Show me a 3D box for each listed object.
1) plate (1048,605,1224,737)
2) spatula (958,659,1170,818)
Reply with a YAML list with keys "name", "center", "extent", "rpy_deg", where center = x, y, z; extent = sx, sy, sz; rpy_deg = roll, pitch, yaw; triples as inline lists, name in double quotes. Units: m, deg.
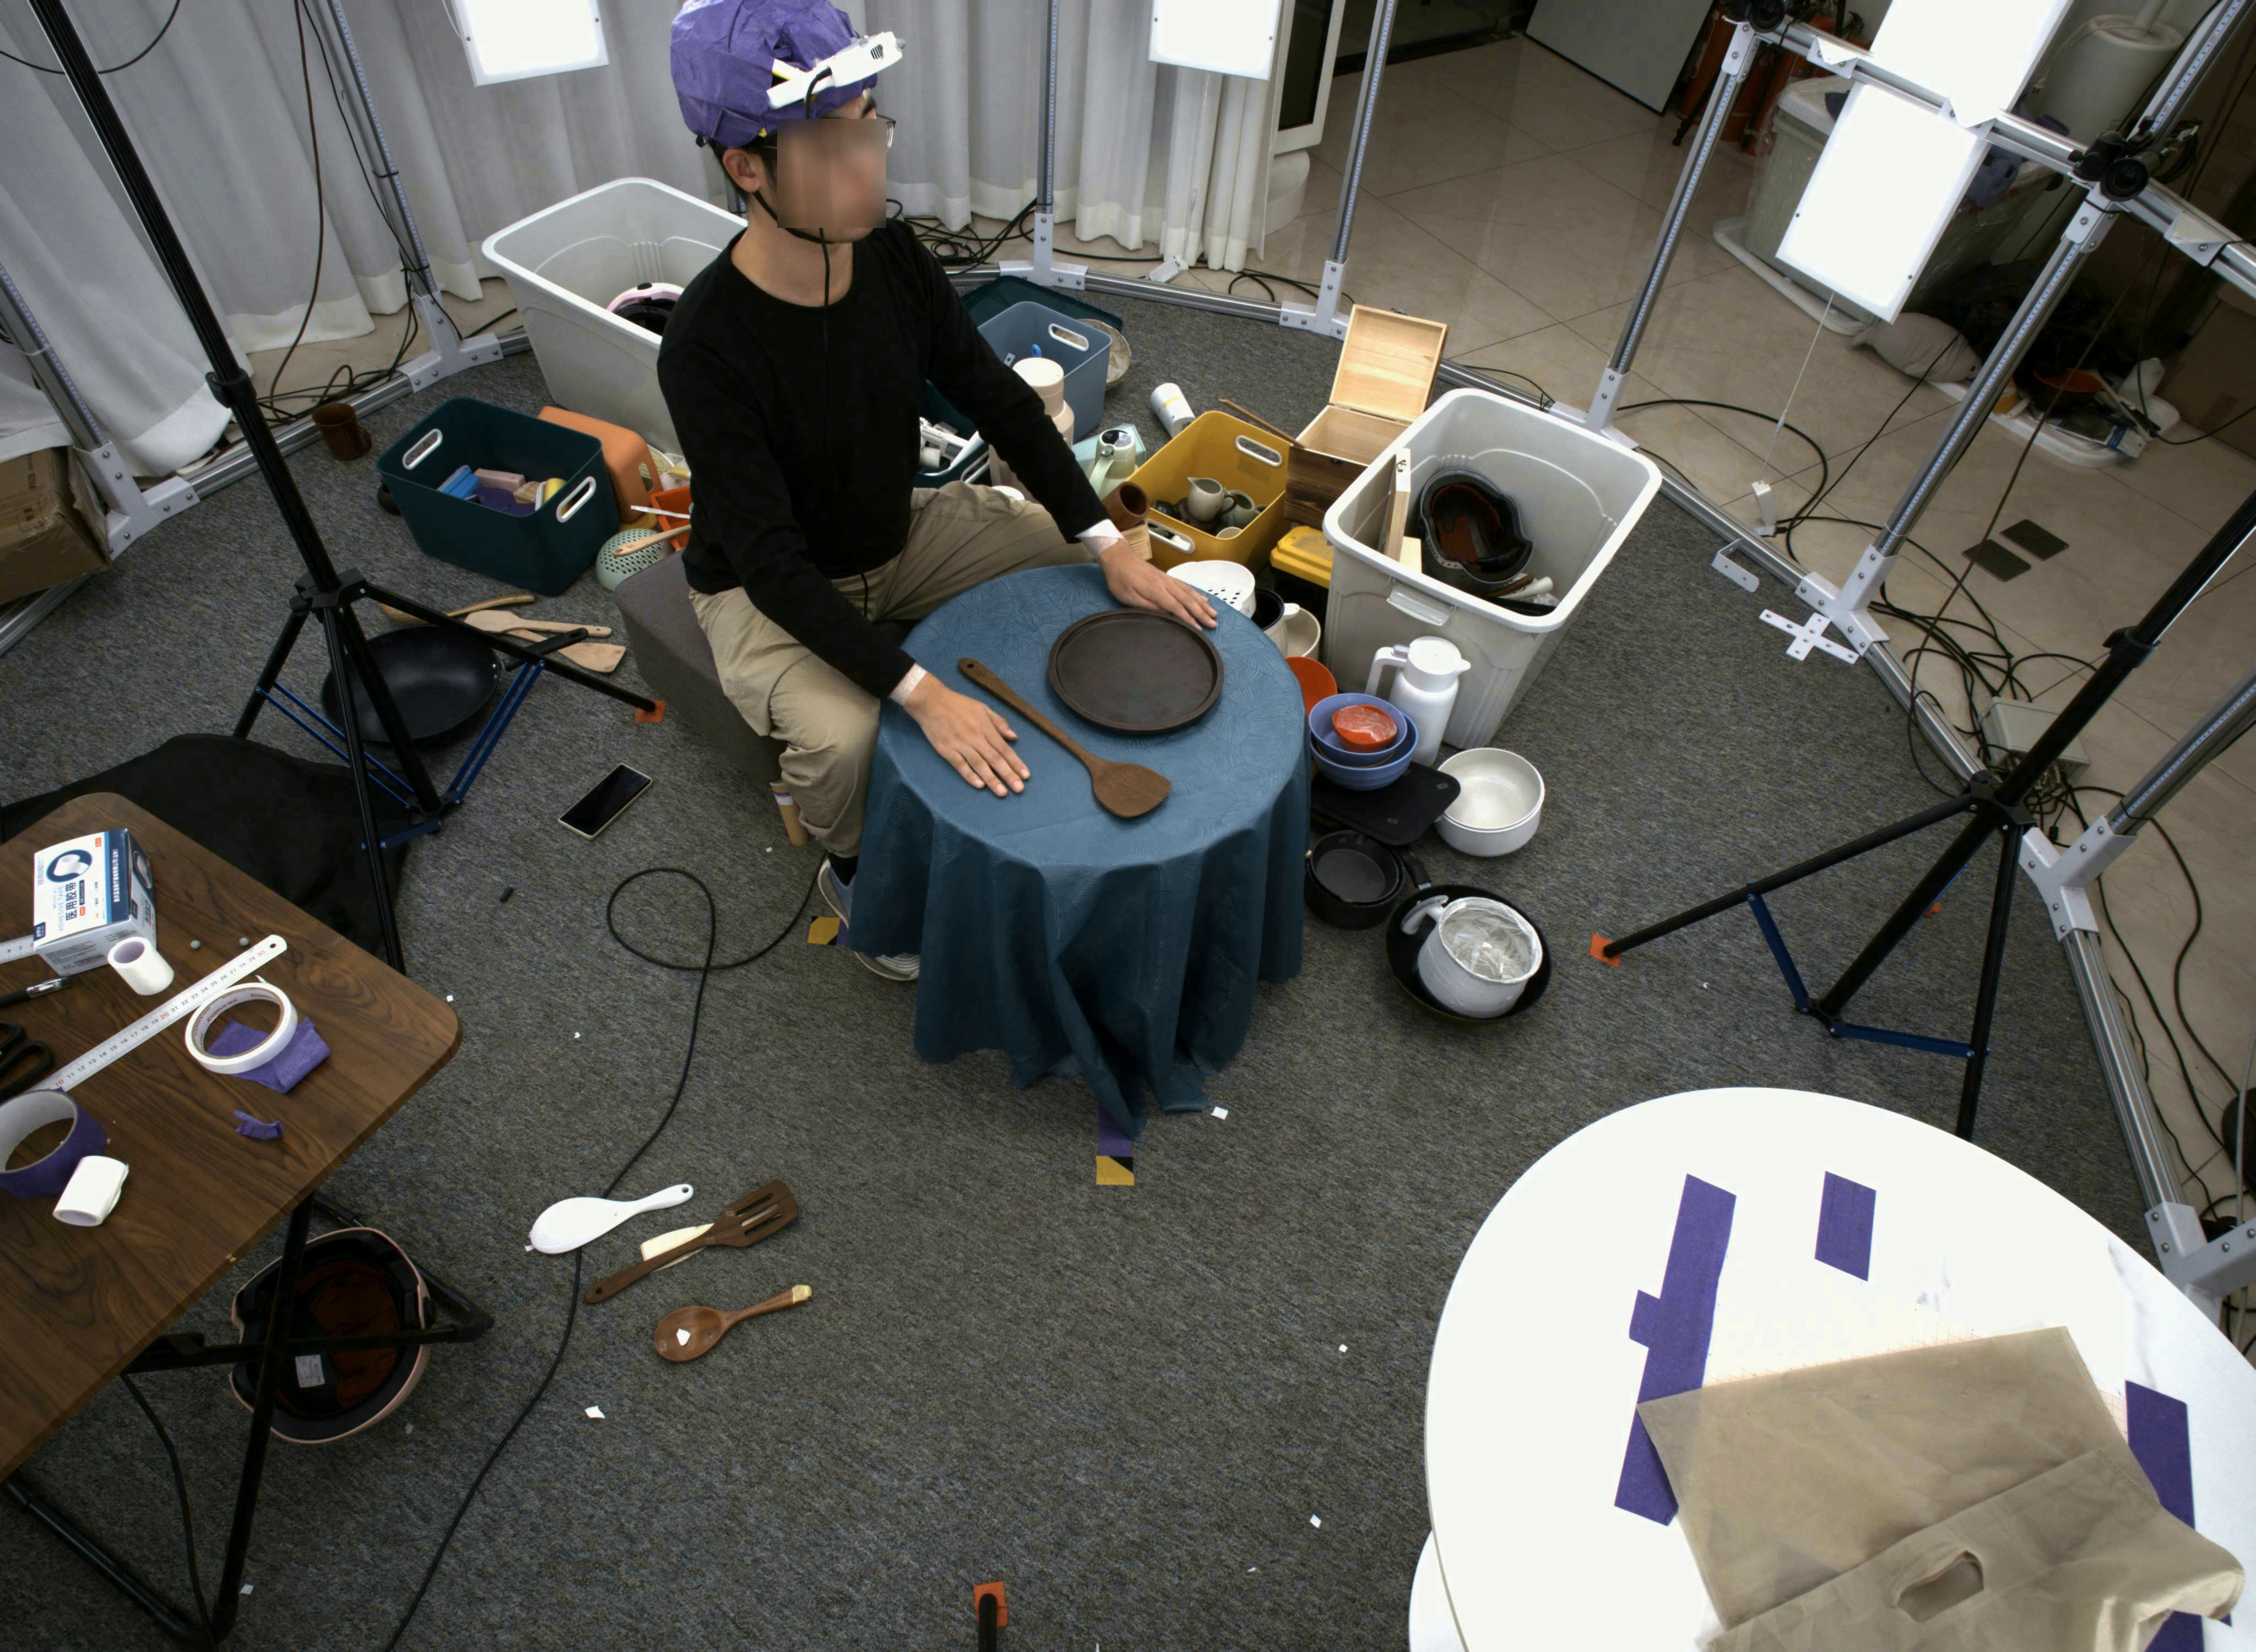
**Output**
- name: "plate"
  center: [0.011, -0.222, 1.848]
  extent: [0.254, 0.028, 0.261]
  rpy_deg: [1, 50, -2]
- name: "spatula"
  center: [-0.104, -0.132, 1.768]
  extent: [0.097, 0.015, 0.392]
  rpy_deg: [-35, 60, -30]
